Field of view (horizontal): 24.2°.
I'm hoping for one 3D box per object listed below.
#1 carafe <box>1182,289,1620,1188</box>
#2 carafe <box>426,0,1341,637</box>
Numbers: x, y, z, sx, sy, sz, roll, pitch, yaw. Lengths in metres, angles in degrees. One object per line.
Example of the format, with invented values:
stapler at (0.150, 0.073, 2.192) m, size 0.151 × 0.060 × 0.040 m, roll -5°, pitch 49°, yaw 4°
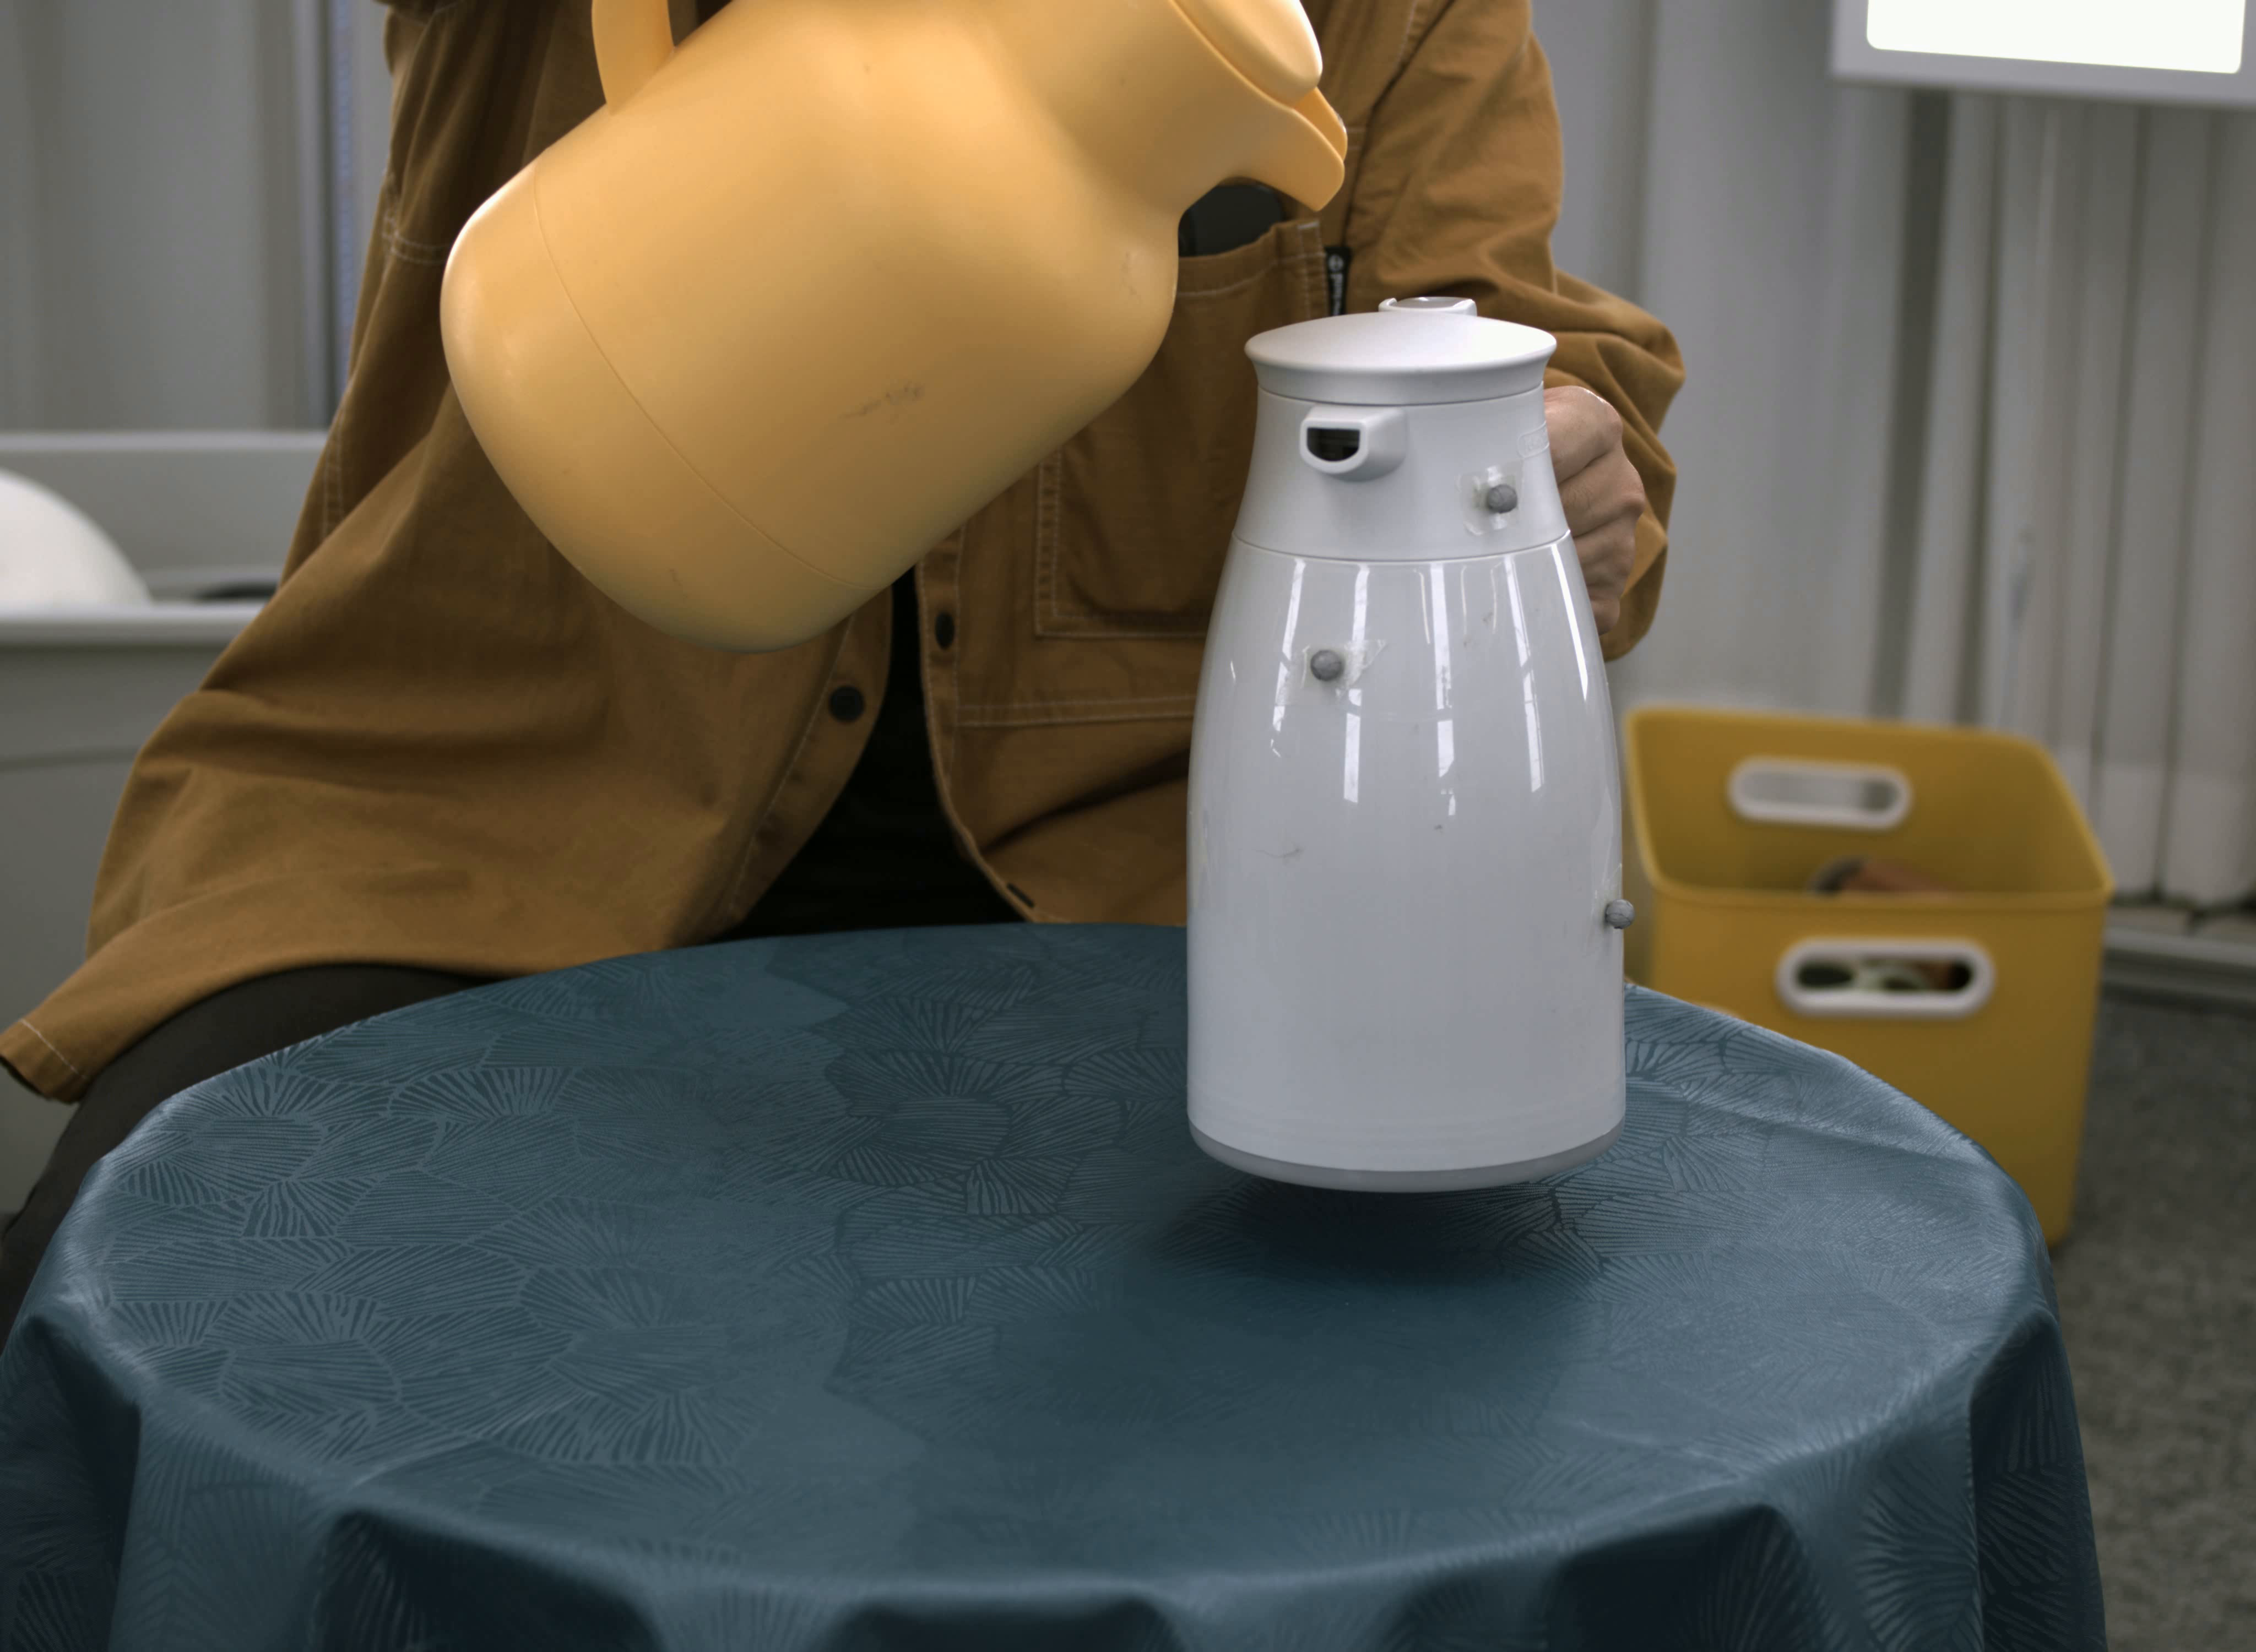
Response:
carafe at (0.087, -0.034, 1.578) m, size 0.131 × 0.250 × 0.168 m, roll 4°, pitch 15°, yaw 19°
carafe at (-0.080, -0.195, 1.525) m, size 0.260 × 0.204 × 0.162 m, roll -34°, pitch 16°, yaw 17°
